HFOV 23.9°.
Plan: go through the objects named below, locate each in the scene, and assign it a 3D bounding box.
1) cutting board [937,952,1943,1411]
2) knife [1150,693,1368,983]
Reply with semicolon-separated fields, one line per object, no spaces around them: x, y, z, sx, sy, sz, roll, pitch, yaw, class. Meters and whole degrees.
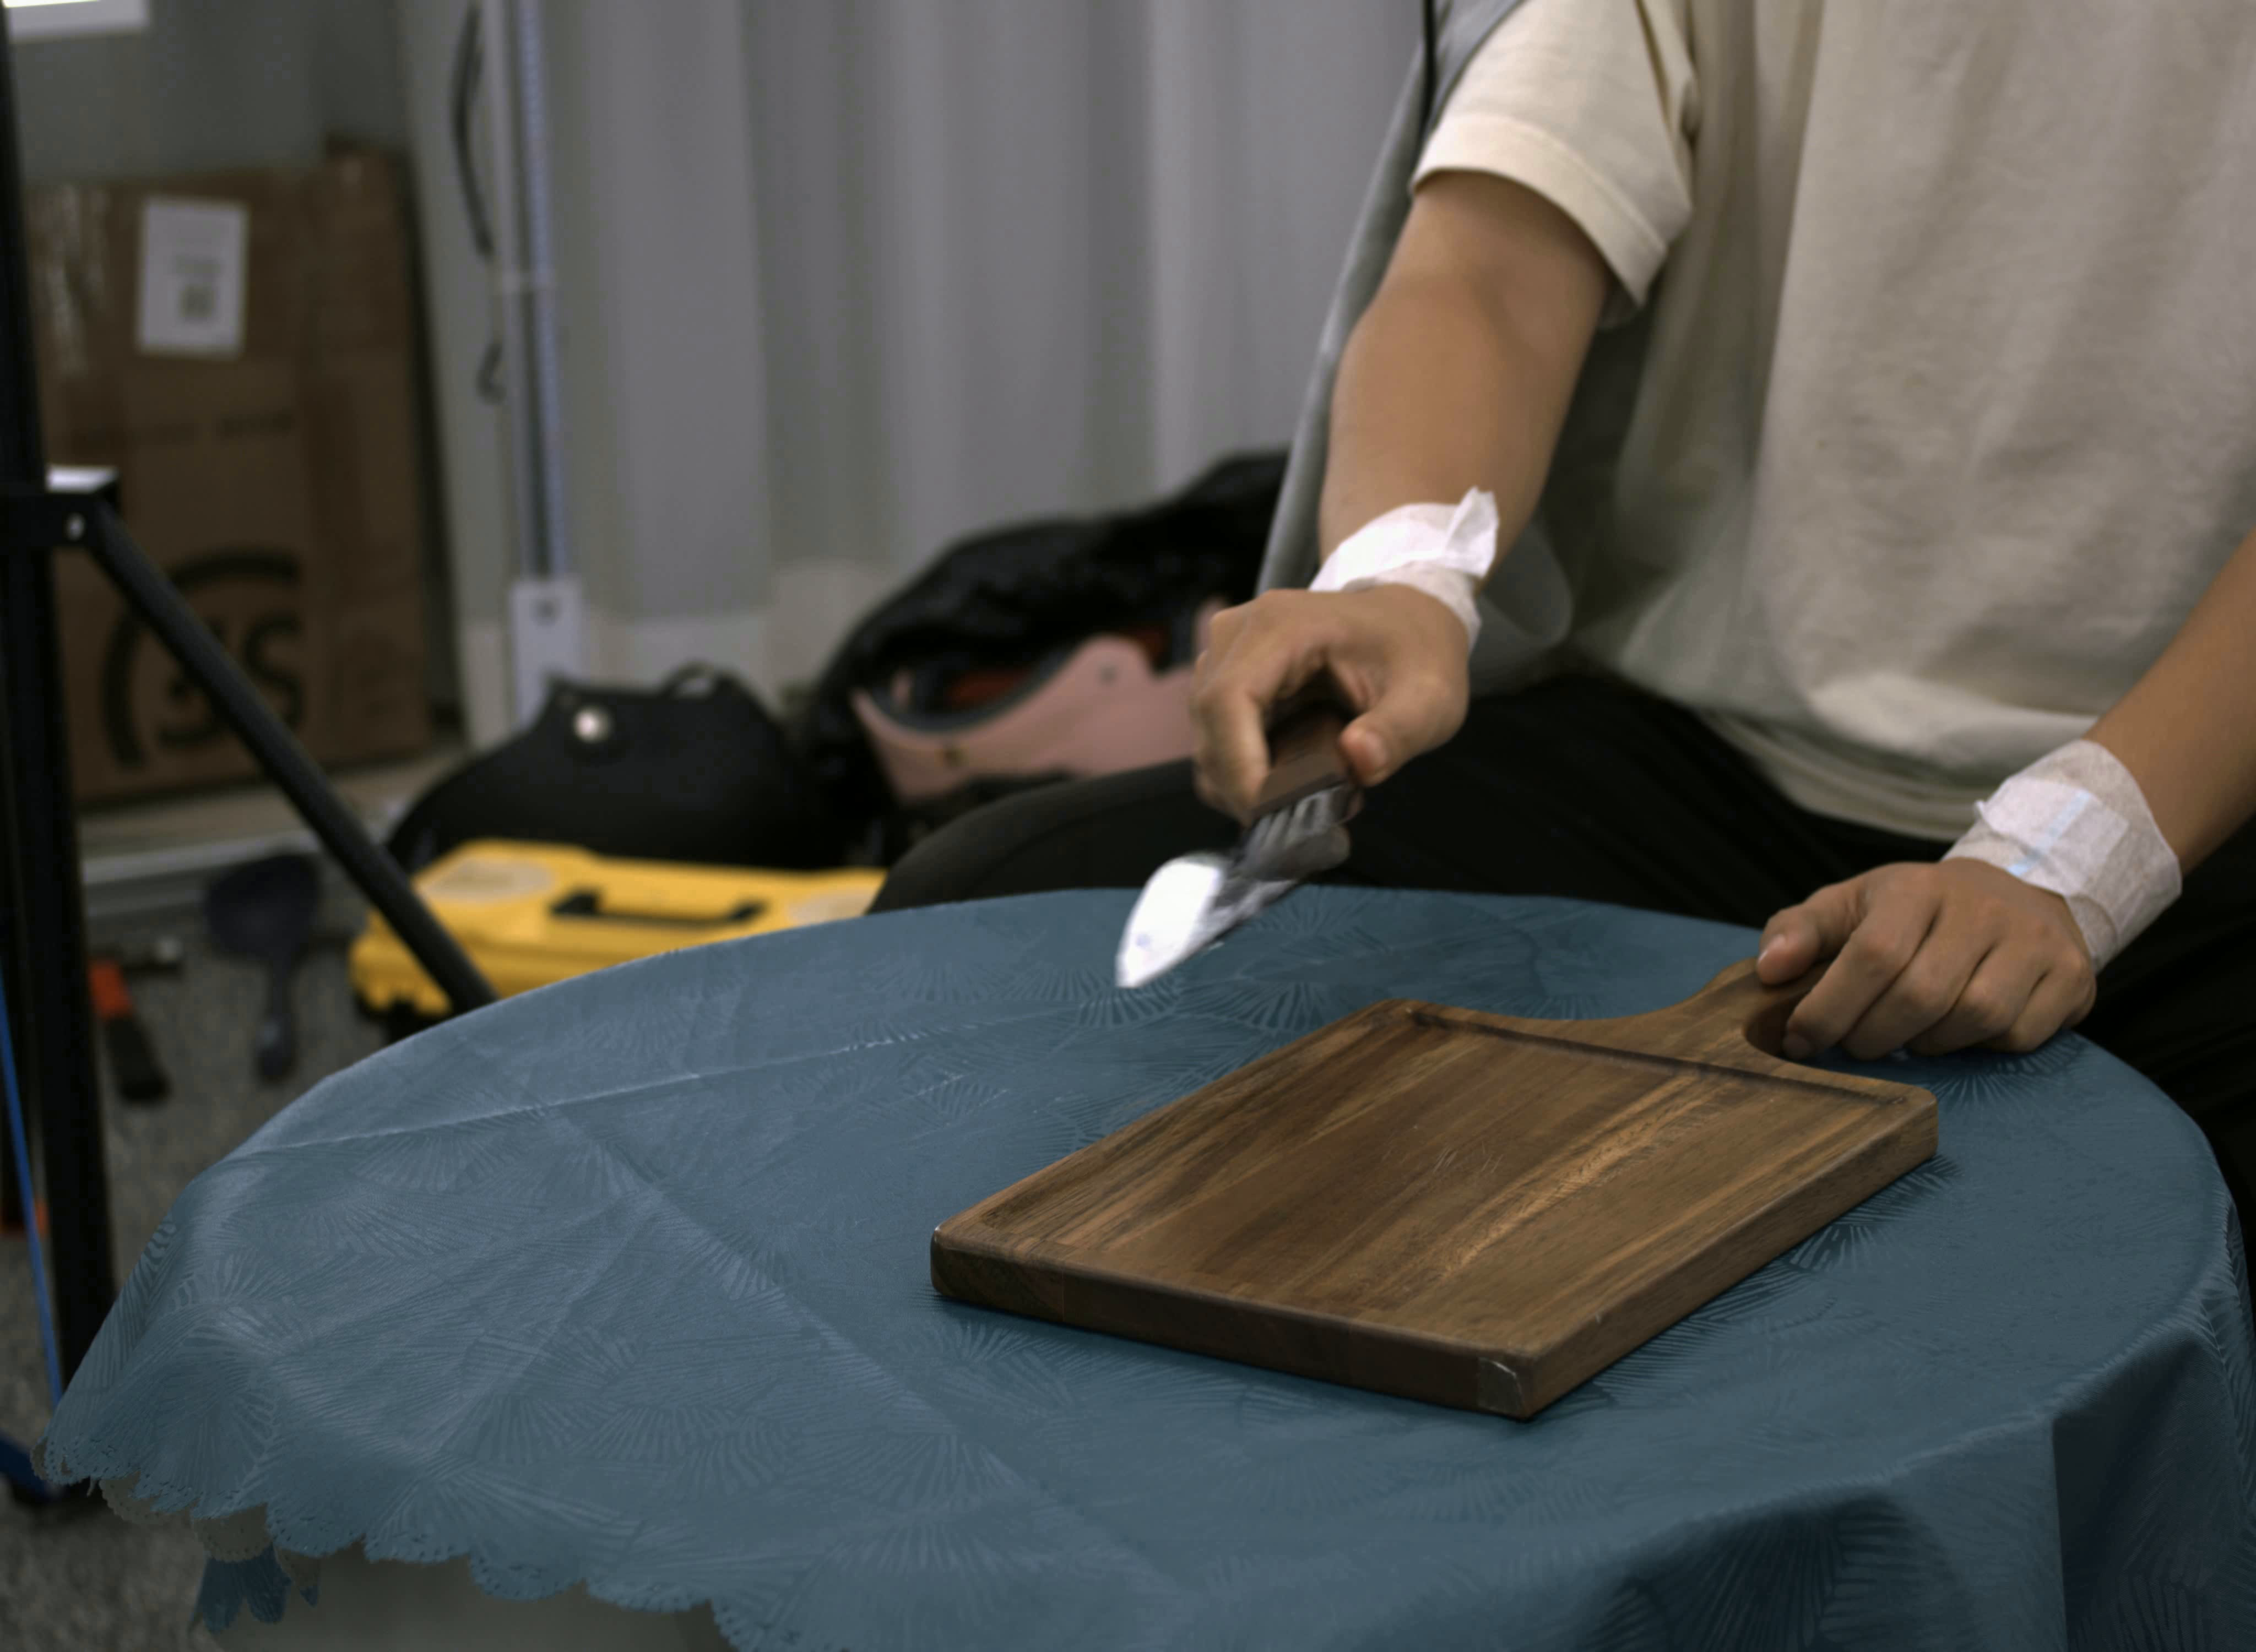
0.121;0.092;1.555;0.205;0.023;0.345;8;18;34;cutting board
0.040;0.004;1.605;0.068;0.024;0.299;-26;8;10;knife
